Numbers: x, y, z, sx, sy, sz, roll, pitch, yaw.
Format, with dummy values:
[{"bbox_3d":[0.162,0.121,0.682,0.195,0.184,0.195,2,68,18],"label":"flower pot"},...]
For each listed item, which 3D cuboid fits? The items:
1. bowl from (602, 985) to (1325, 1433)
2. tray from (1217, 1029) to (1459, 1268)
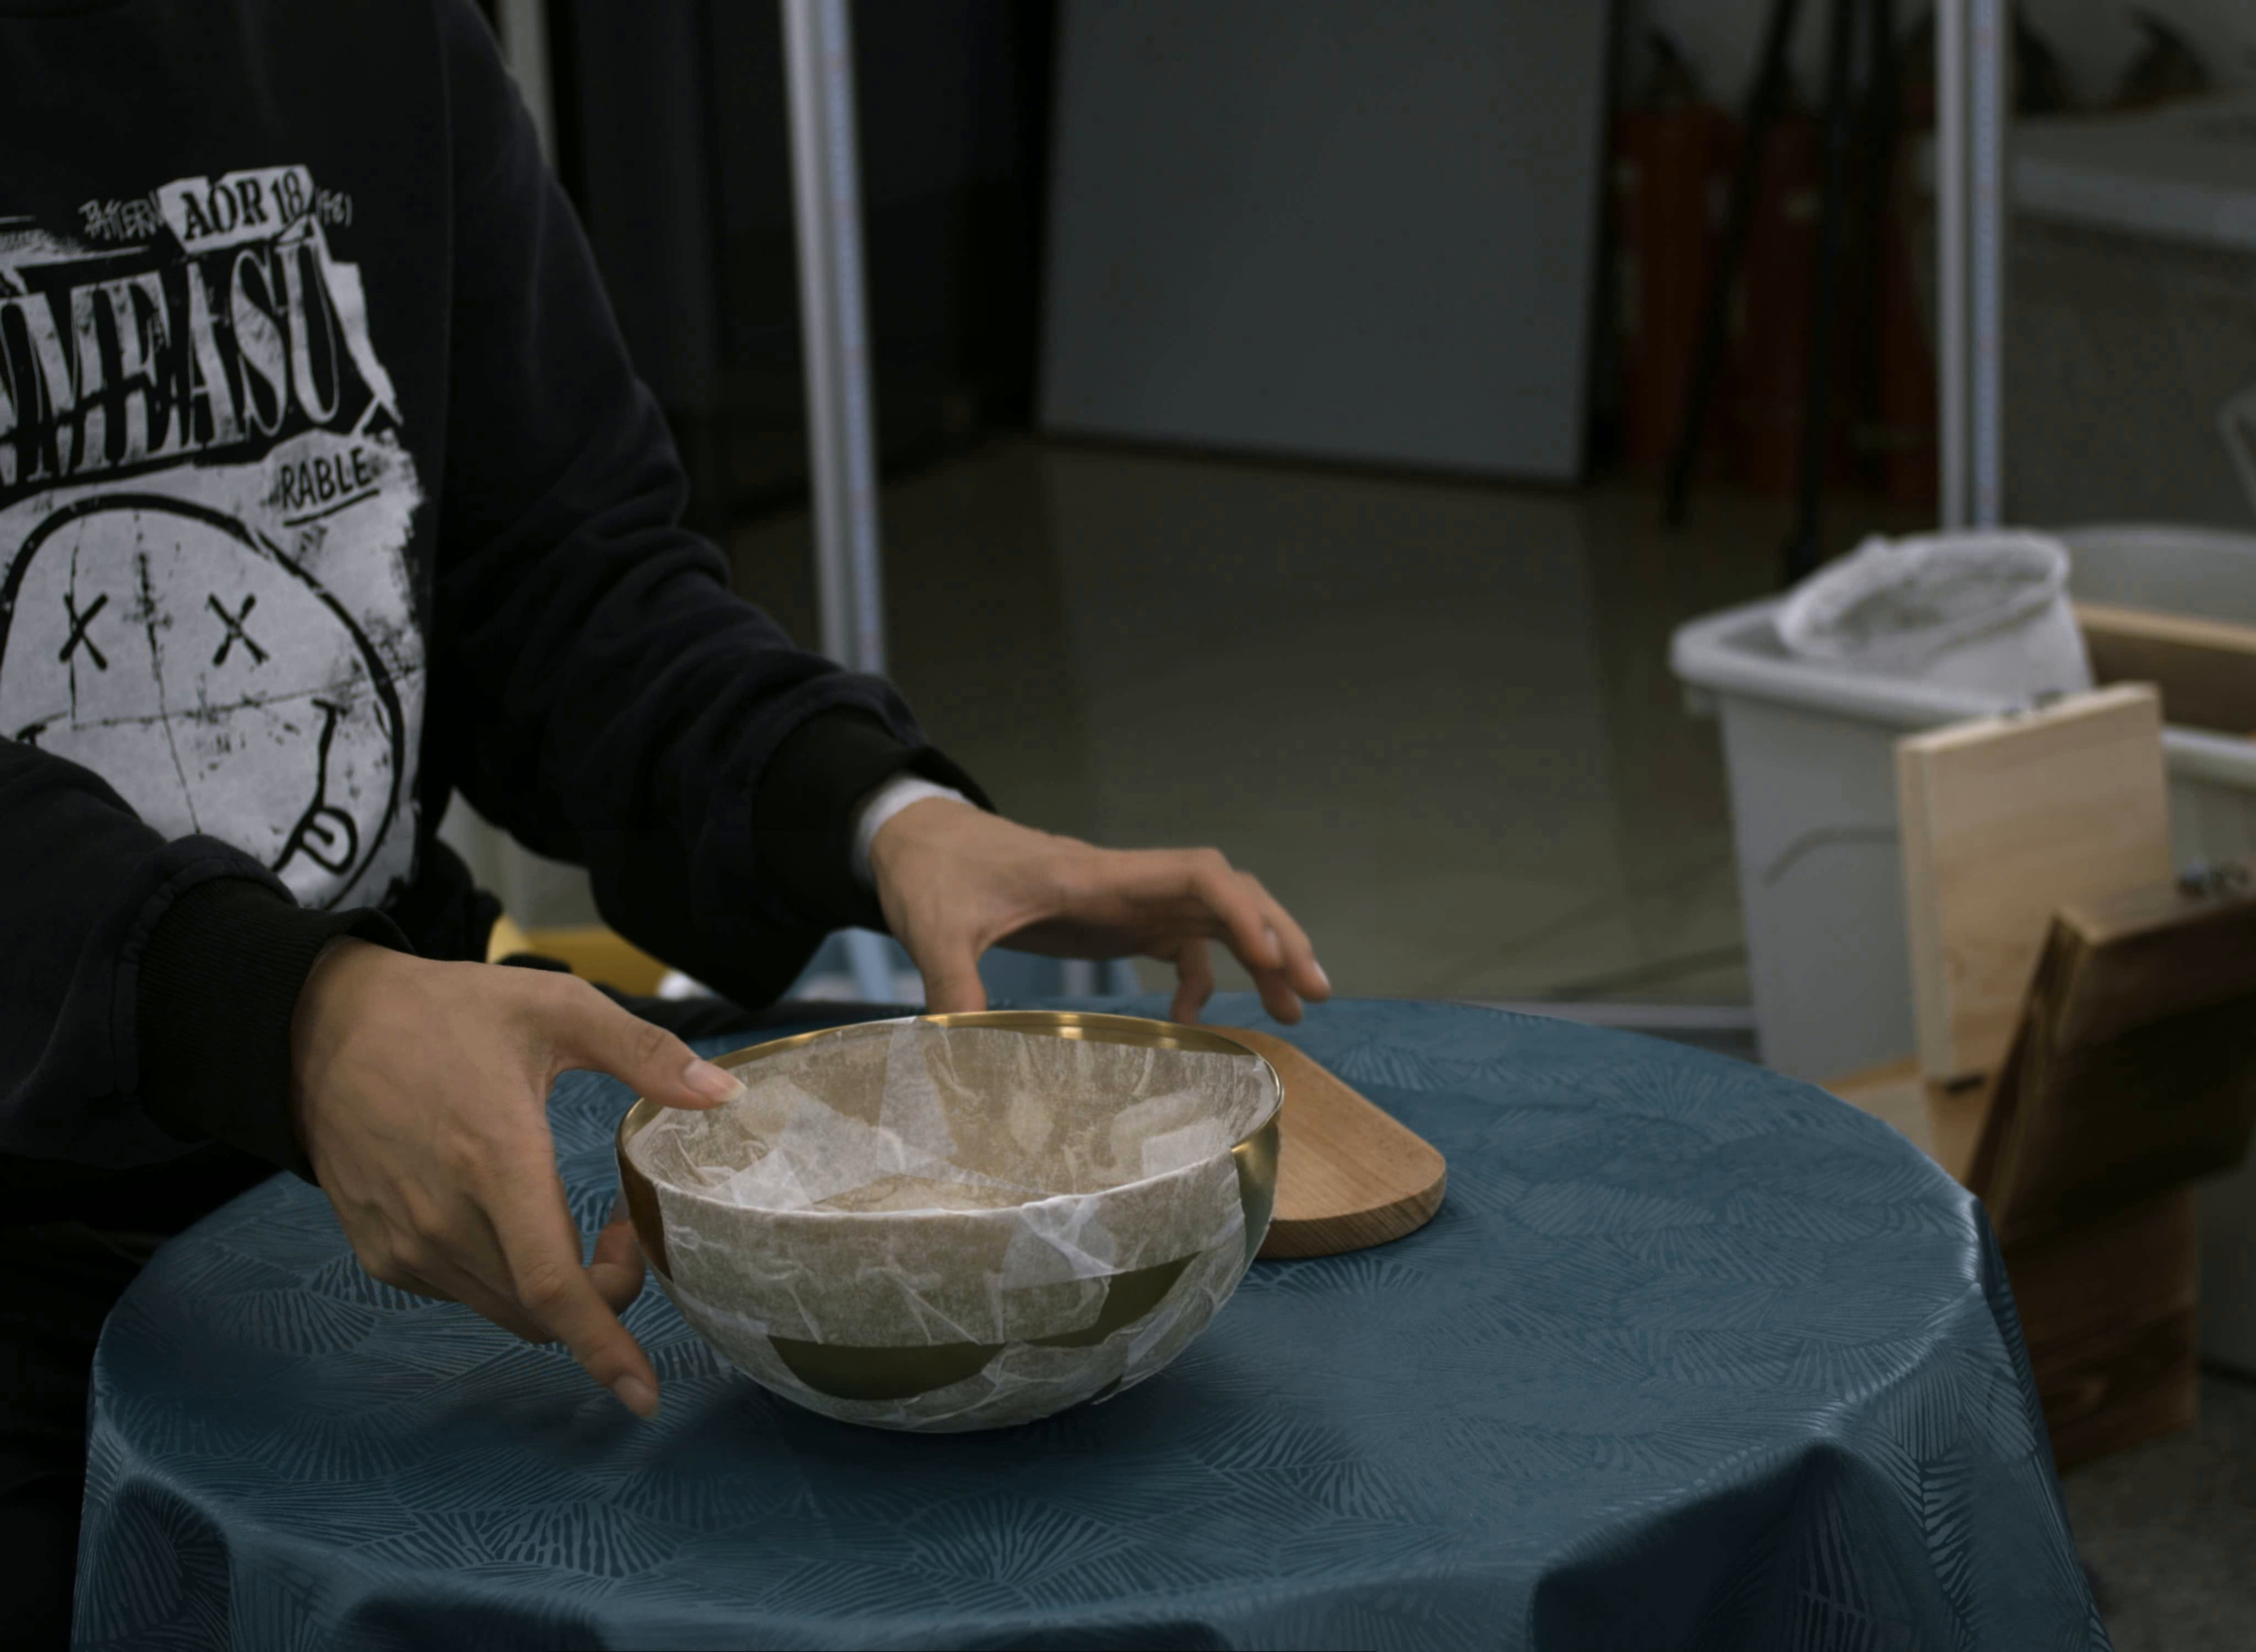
[{"bbox_3d":[-0.046,0.121,1.586,0.212,0.095,0.215,-5,15,0],"label":"bowl"},{"bbox_3d":[0.034,0.105,1.794,0.100,0.020,0.233,-11,17,-17],"label":"tray"}]
